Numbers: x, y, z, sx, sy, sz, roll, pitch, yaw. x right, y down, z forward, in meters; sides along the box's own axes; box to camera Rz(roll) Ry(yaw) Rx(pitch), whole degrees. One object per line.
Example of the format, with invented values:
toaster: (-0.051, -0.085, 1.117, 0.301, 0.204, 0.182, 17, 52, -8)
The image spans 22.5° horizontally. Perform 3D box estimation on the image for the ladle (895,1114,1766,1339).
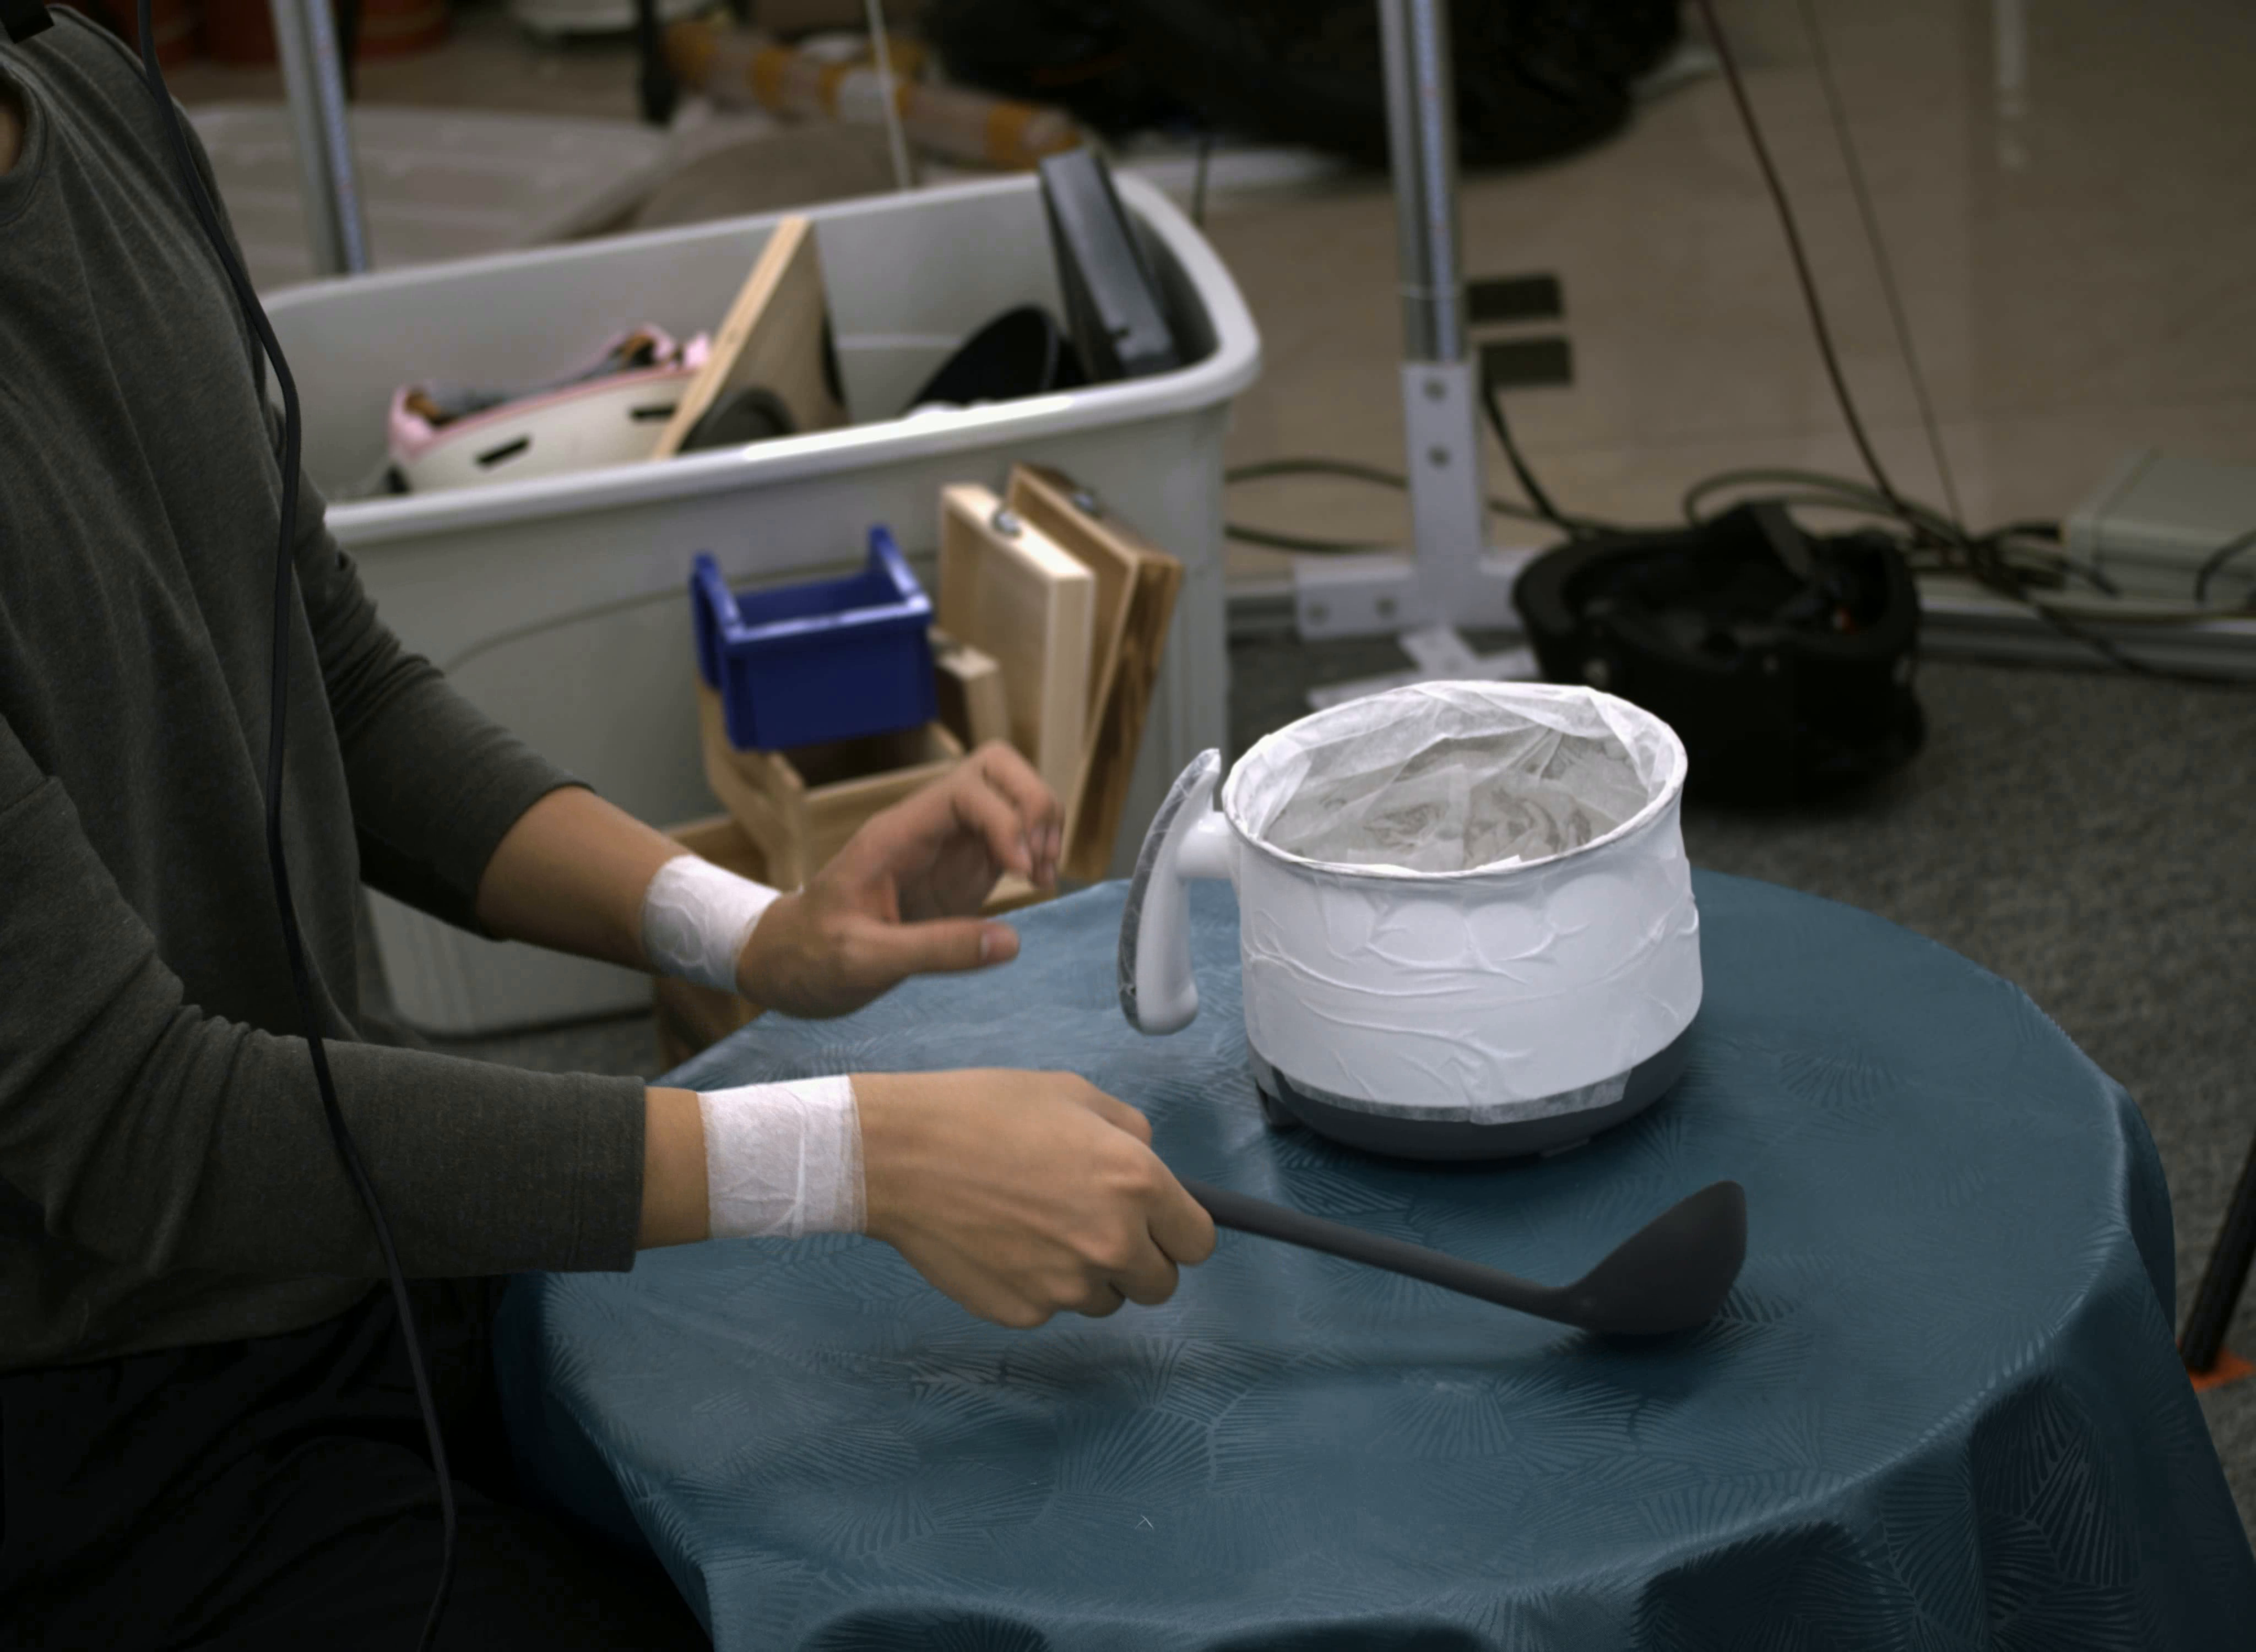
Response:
ladle: (0.072, 0.124, 2.022, 0.313, 0.087, 0.063, 14, 72, 11)

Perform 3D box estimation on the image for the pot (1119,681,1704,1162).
pot: (0.104, 0.037, 2.181, 0.233, 0.139, 0.176, 3, 27, 20)
